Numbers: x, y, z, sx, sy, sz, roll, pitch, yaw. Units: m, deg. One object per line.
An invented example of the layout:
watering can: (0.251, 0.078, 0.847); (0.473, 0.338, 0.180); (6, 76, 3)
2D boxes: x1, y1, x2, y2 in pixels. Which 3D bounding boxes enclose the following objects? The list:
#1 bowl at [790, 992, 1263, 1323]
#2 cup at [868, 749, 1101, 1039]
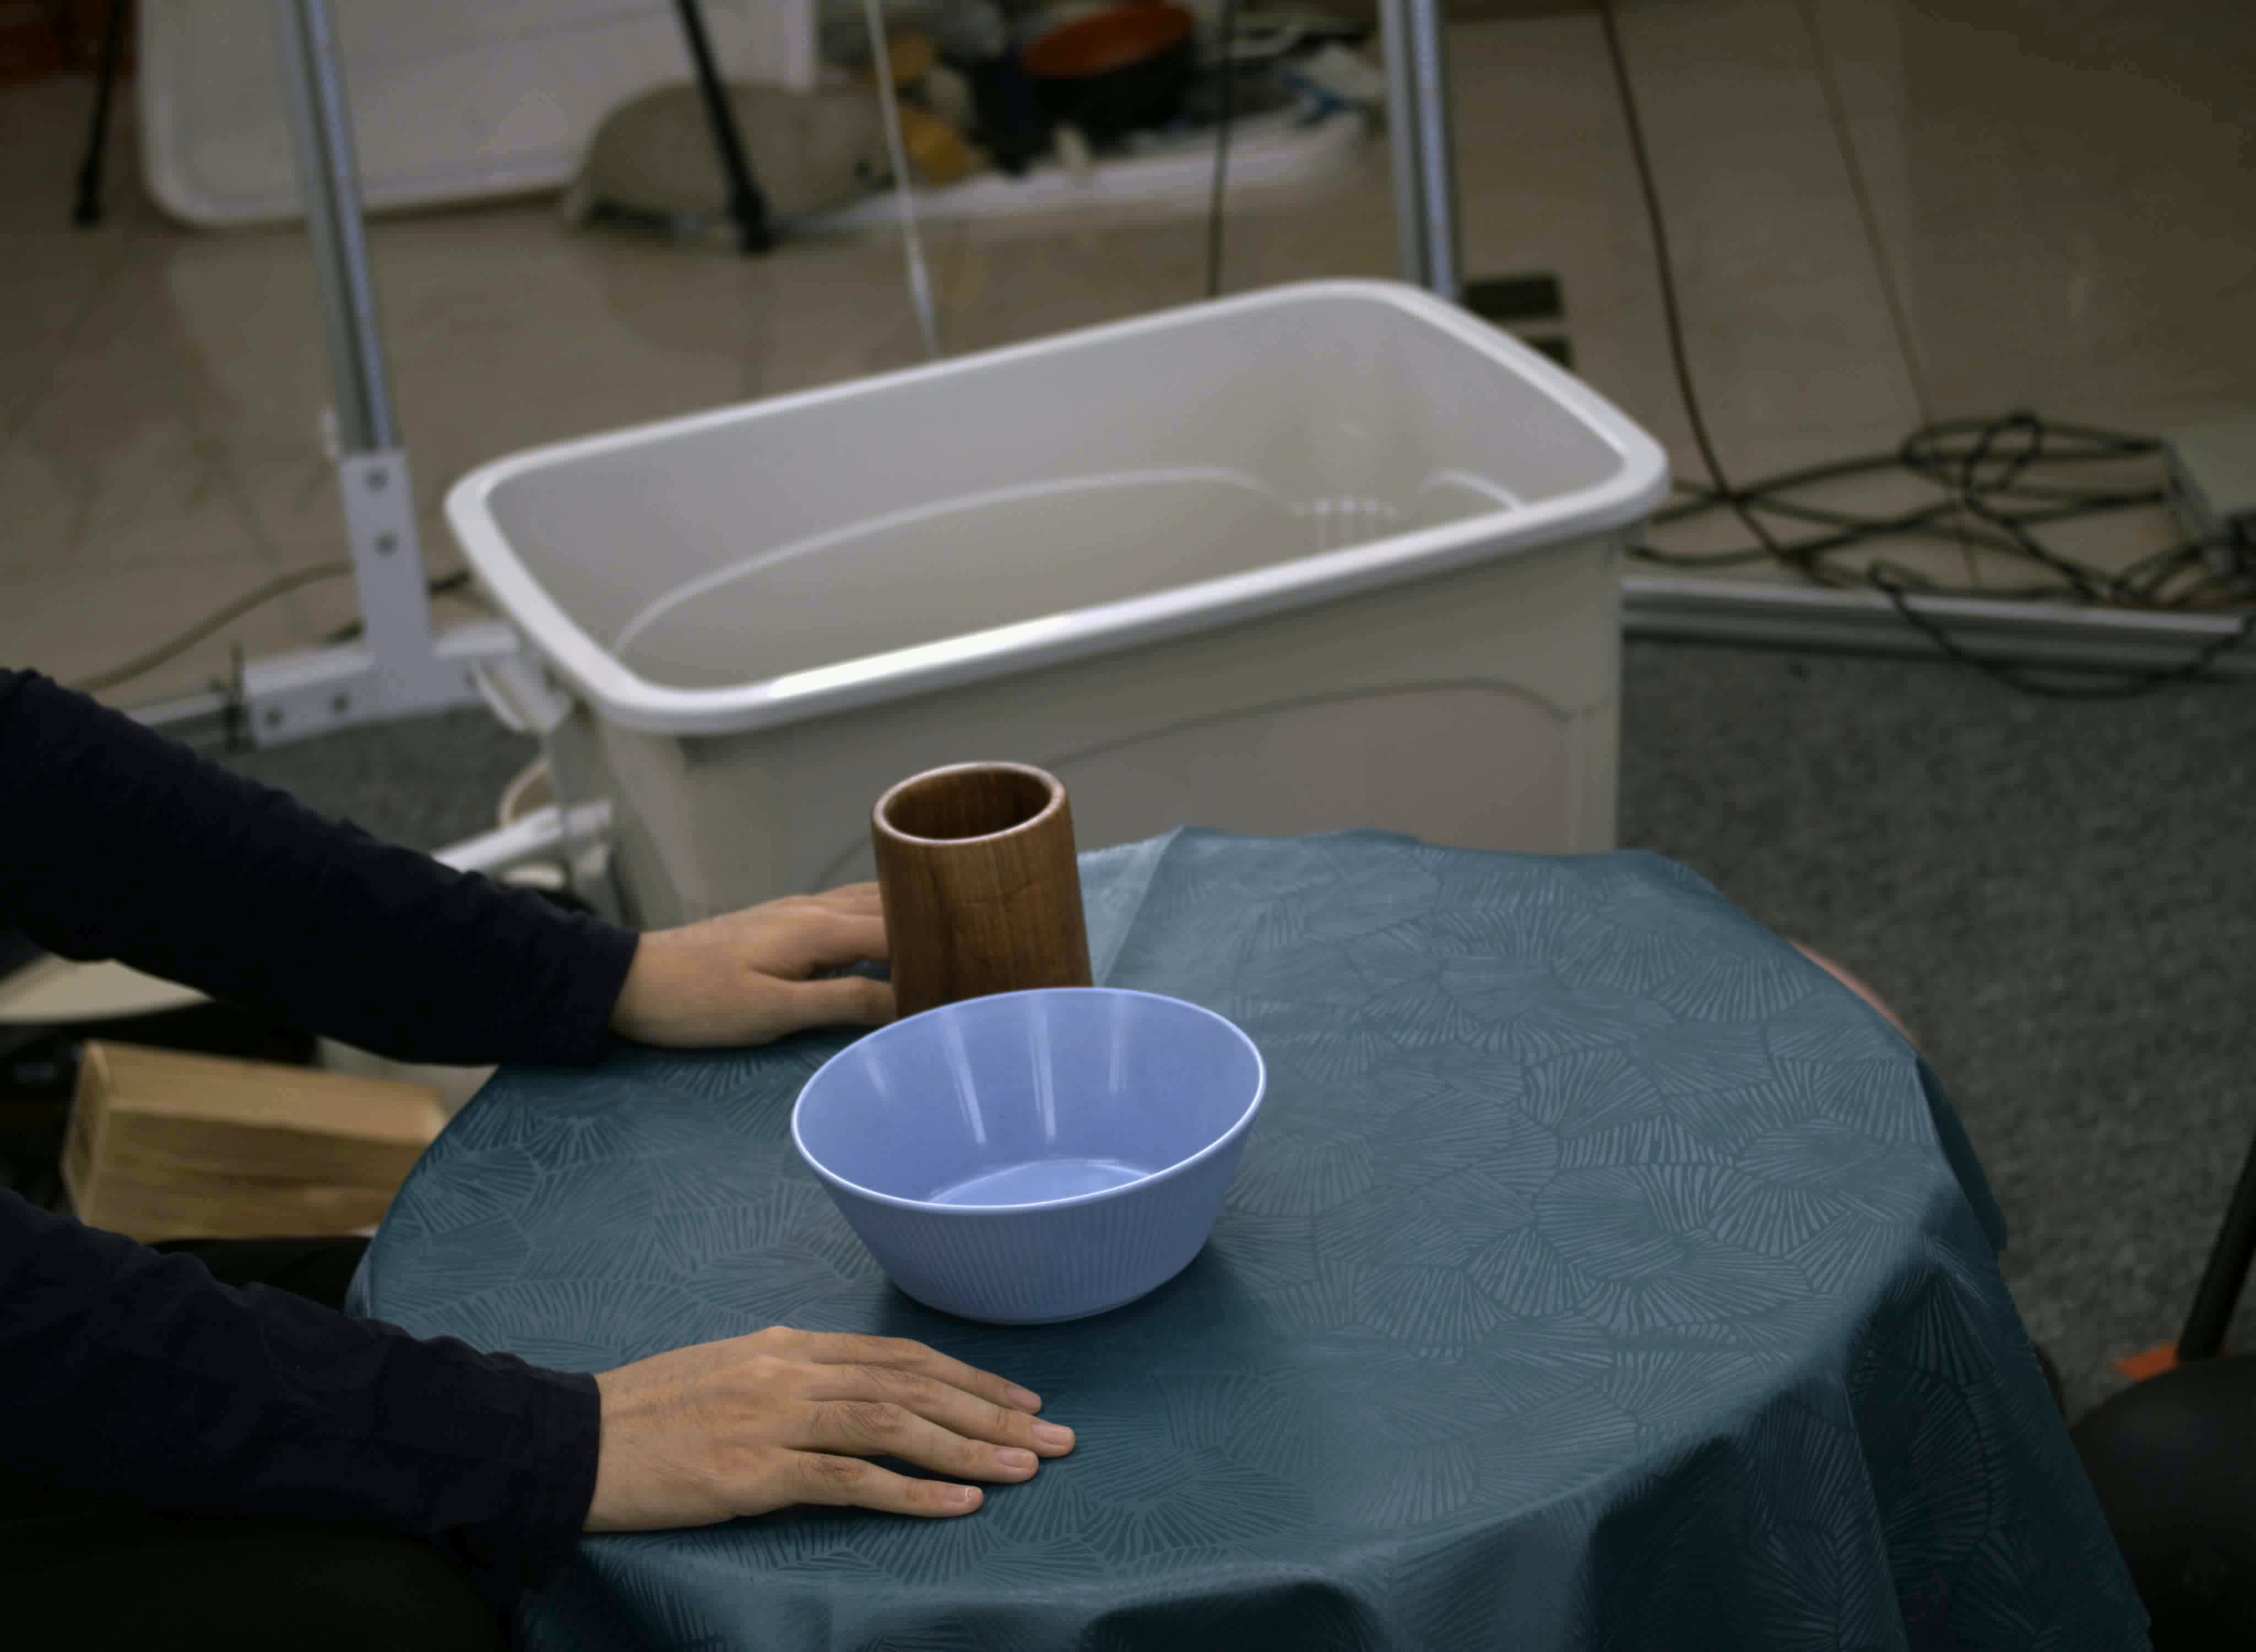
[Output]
bowl: (-0.034, 0.128, 2.095); (0.176, 0.071, 0.173); (-6, 24, 3)
cup: (-0.055, 0.039, 2.237); (0.087, 0.120, 0.086); (-7, 24, 3)
